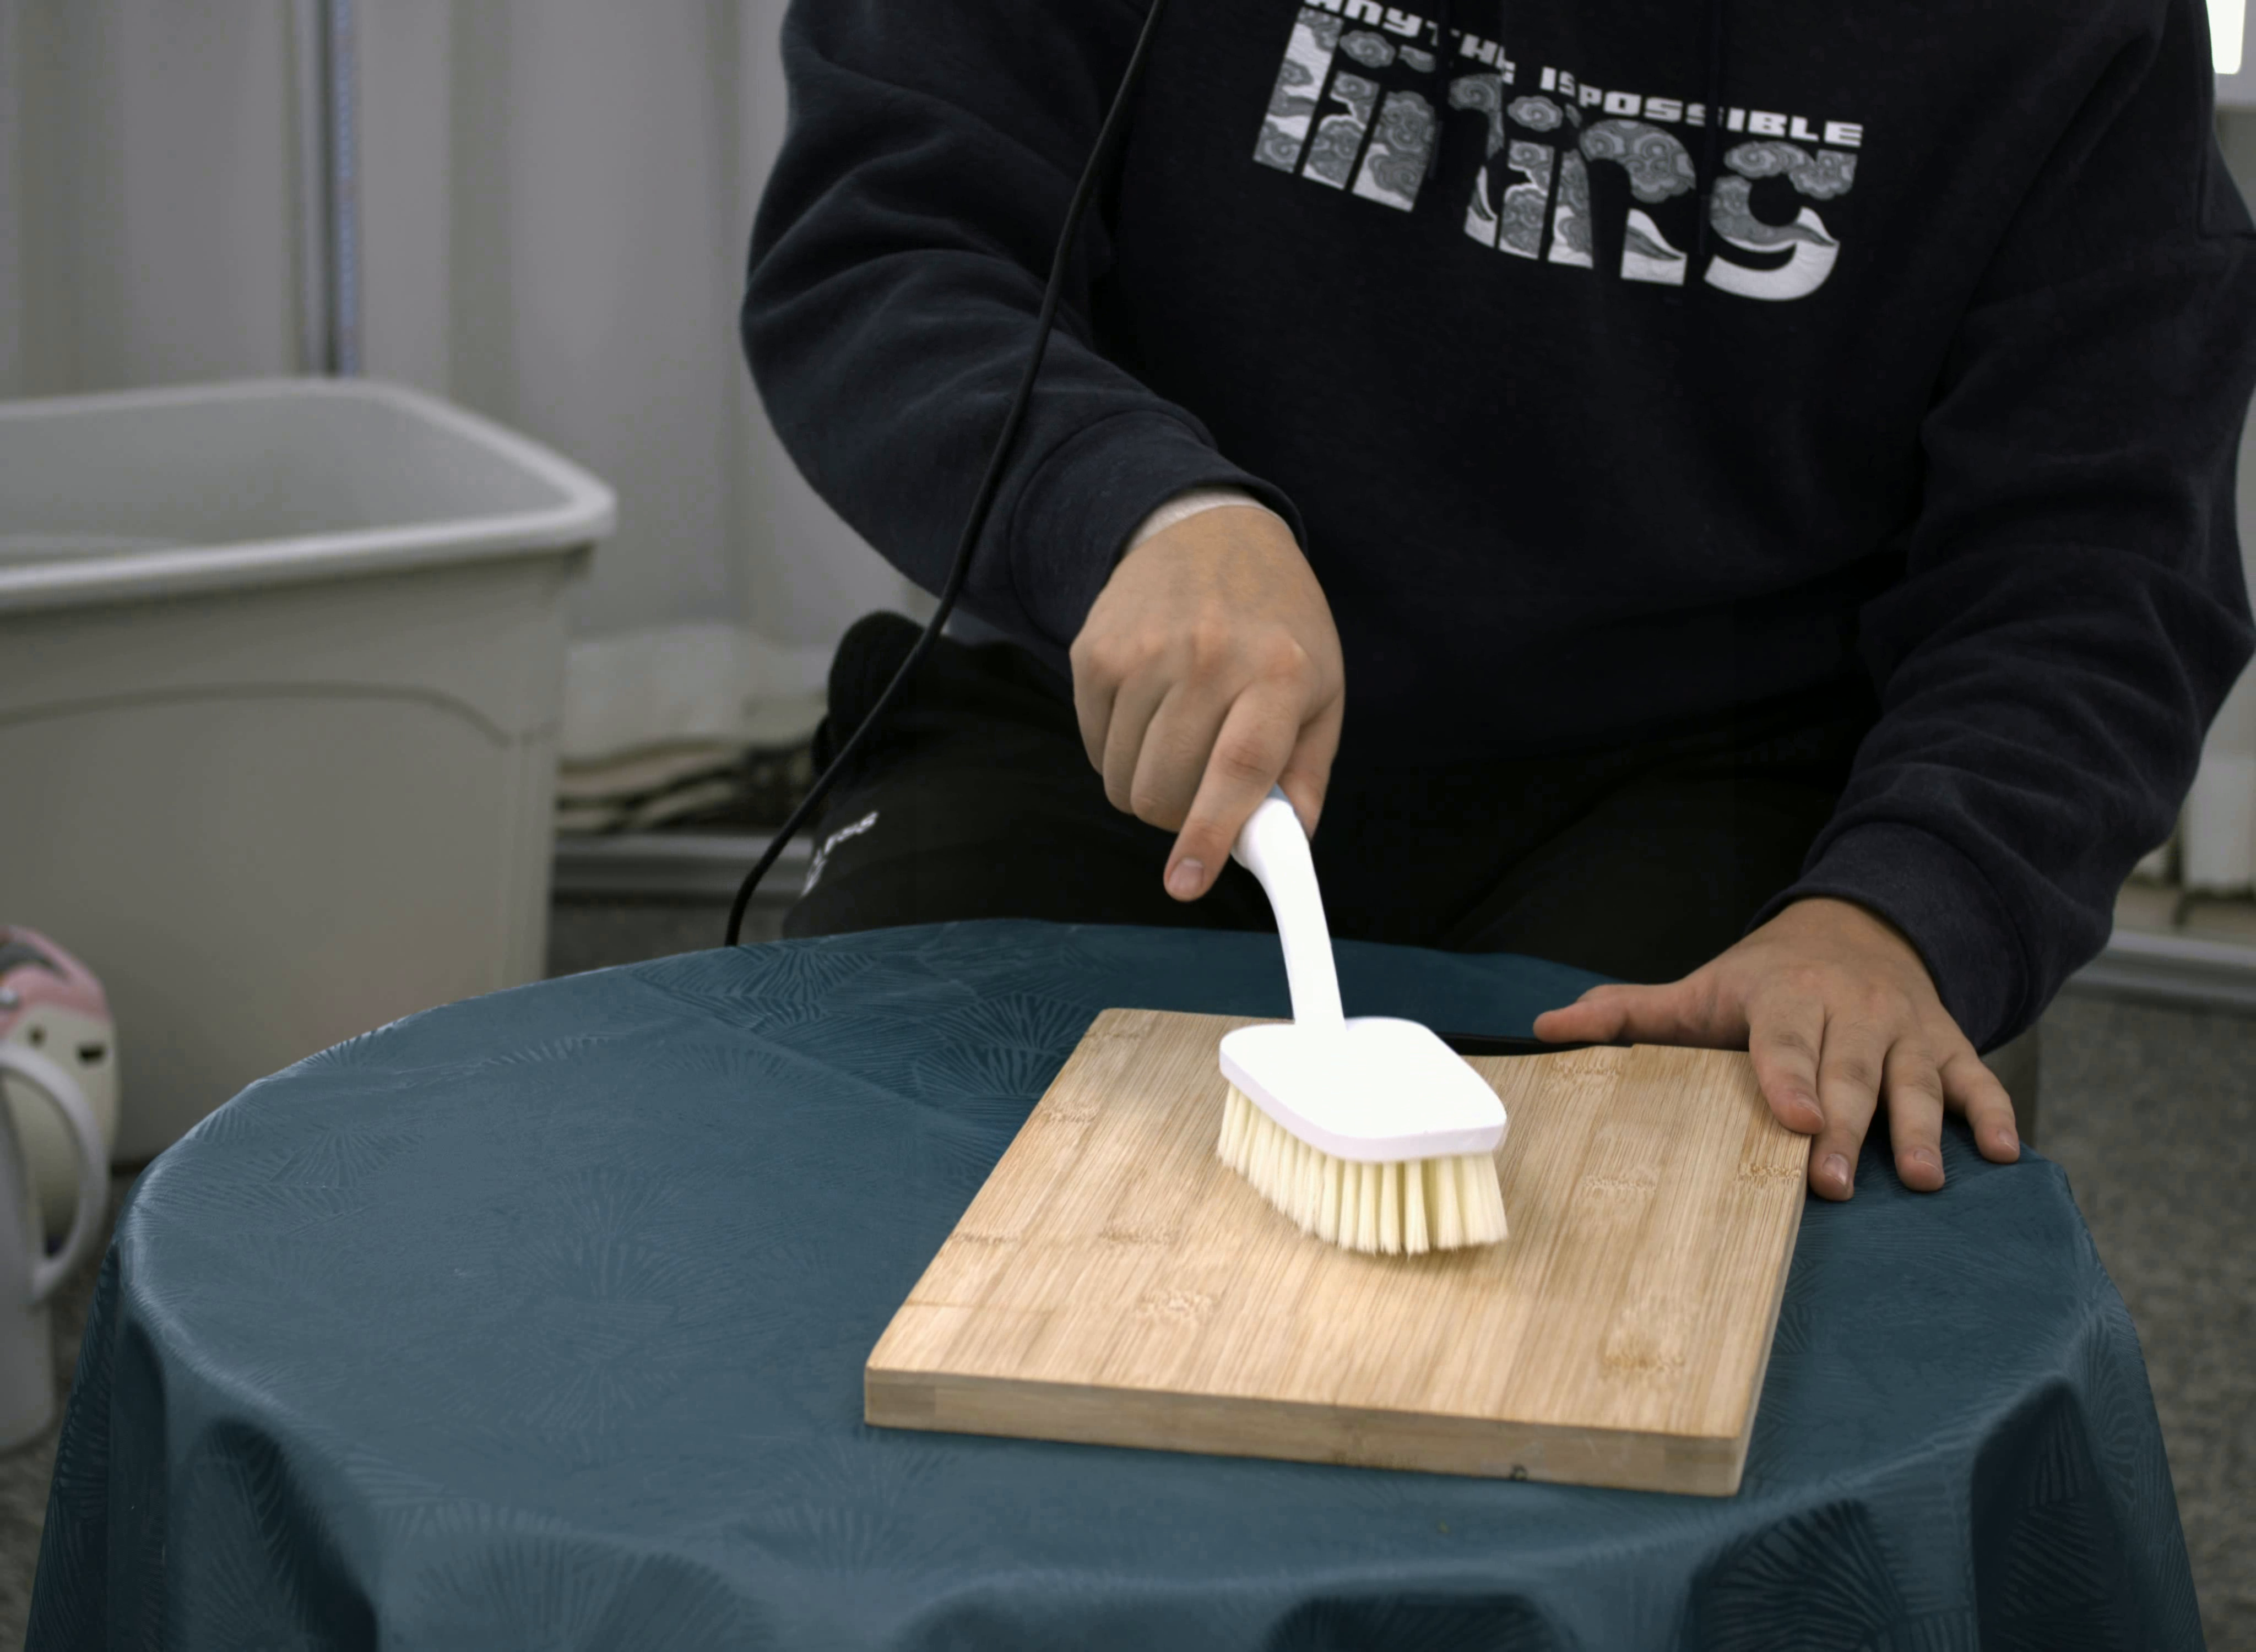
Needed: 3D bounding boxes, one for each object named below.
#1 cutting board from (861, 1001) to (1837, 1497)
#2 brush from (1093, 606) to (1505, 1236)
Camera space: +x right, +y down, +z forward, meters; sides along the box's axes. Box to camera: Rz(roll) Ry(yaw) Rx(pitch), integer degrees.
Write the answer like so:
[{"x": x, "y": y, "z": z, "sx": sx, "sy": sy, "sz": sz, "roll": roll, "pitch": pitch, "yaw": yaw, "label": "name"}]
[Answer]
[{"x": 0.078, "y": 0.118, "z": 1.579, "sx": 0.249, "sy": 0.024, "sz": 0.348, "roll": 4, "pitch": 16, "yaw": 9, "label": "cutting board"}, {"x": 0.048, "y": 0.040, "z": 1.650, "sx": 0.084, "sy": 0.084, "sz": 0.321, "roll": 29, "pitch": 17, "yaw": -31, "label": "brush"}]
